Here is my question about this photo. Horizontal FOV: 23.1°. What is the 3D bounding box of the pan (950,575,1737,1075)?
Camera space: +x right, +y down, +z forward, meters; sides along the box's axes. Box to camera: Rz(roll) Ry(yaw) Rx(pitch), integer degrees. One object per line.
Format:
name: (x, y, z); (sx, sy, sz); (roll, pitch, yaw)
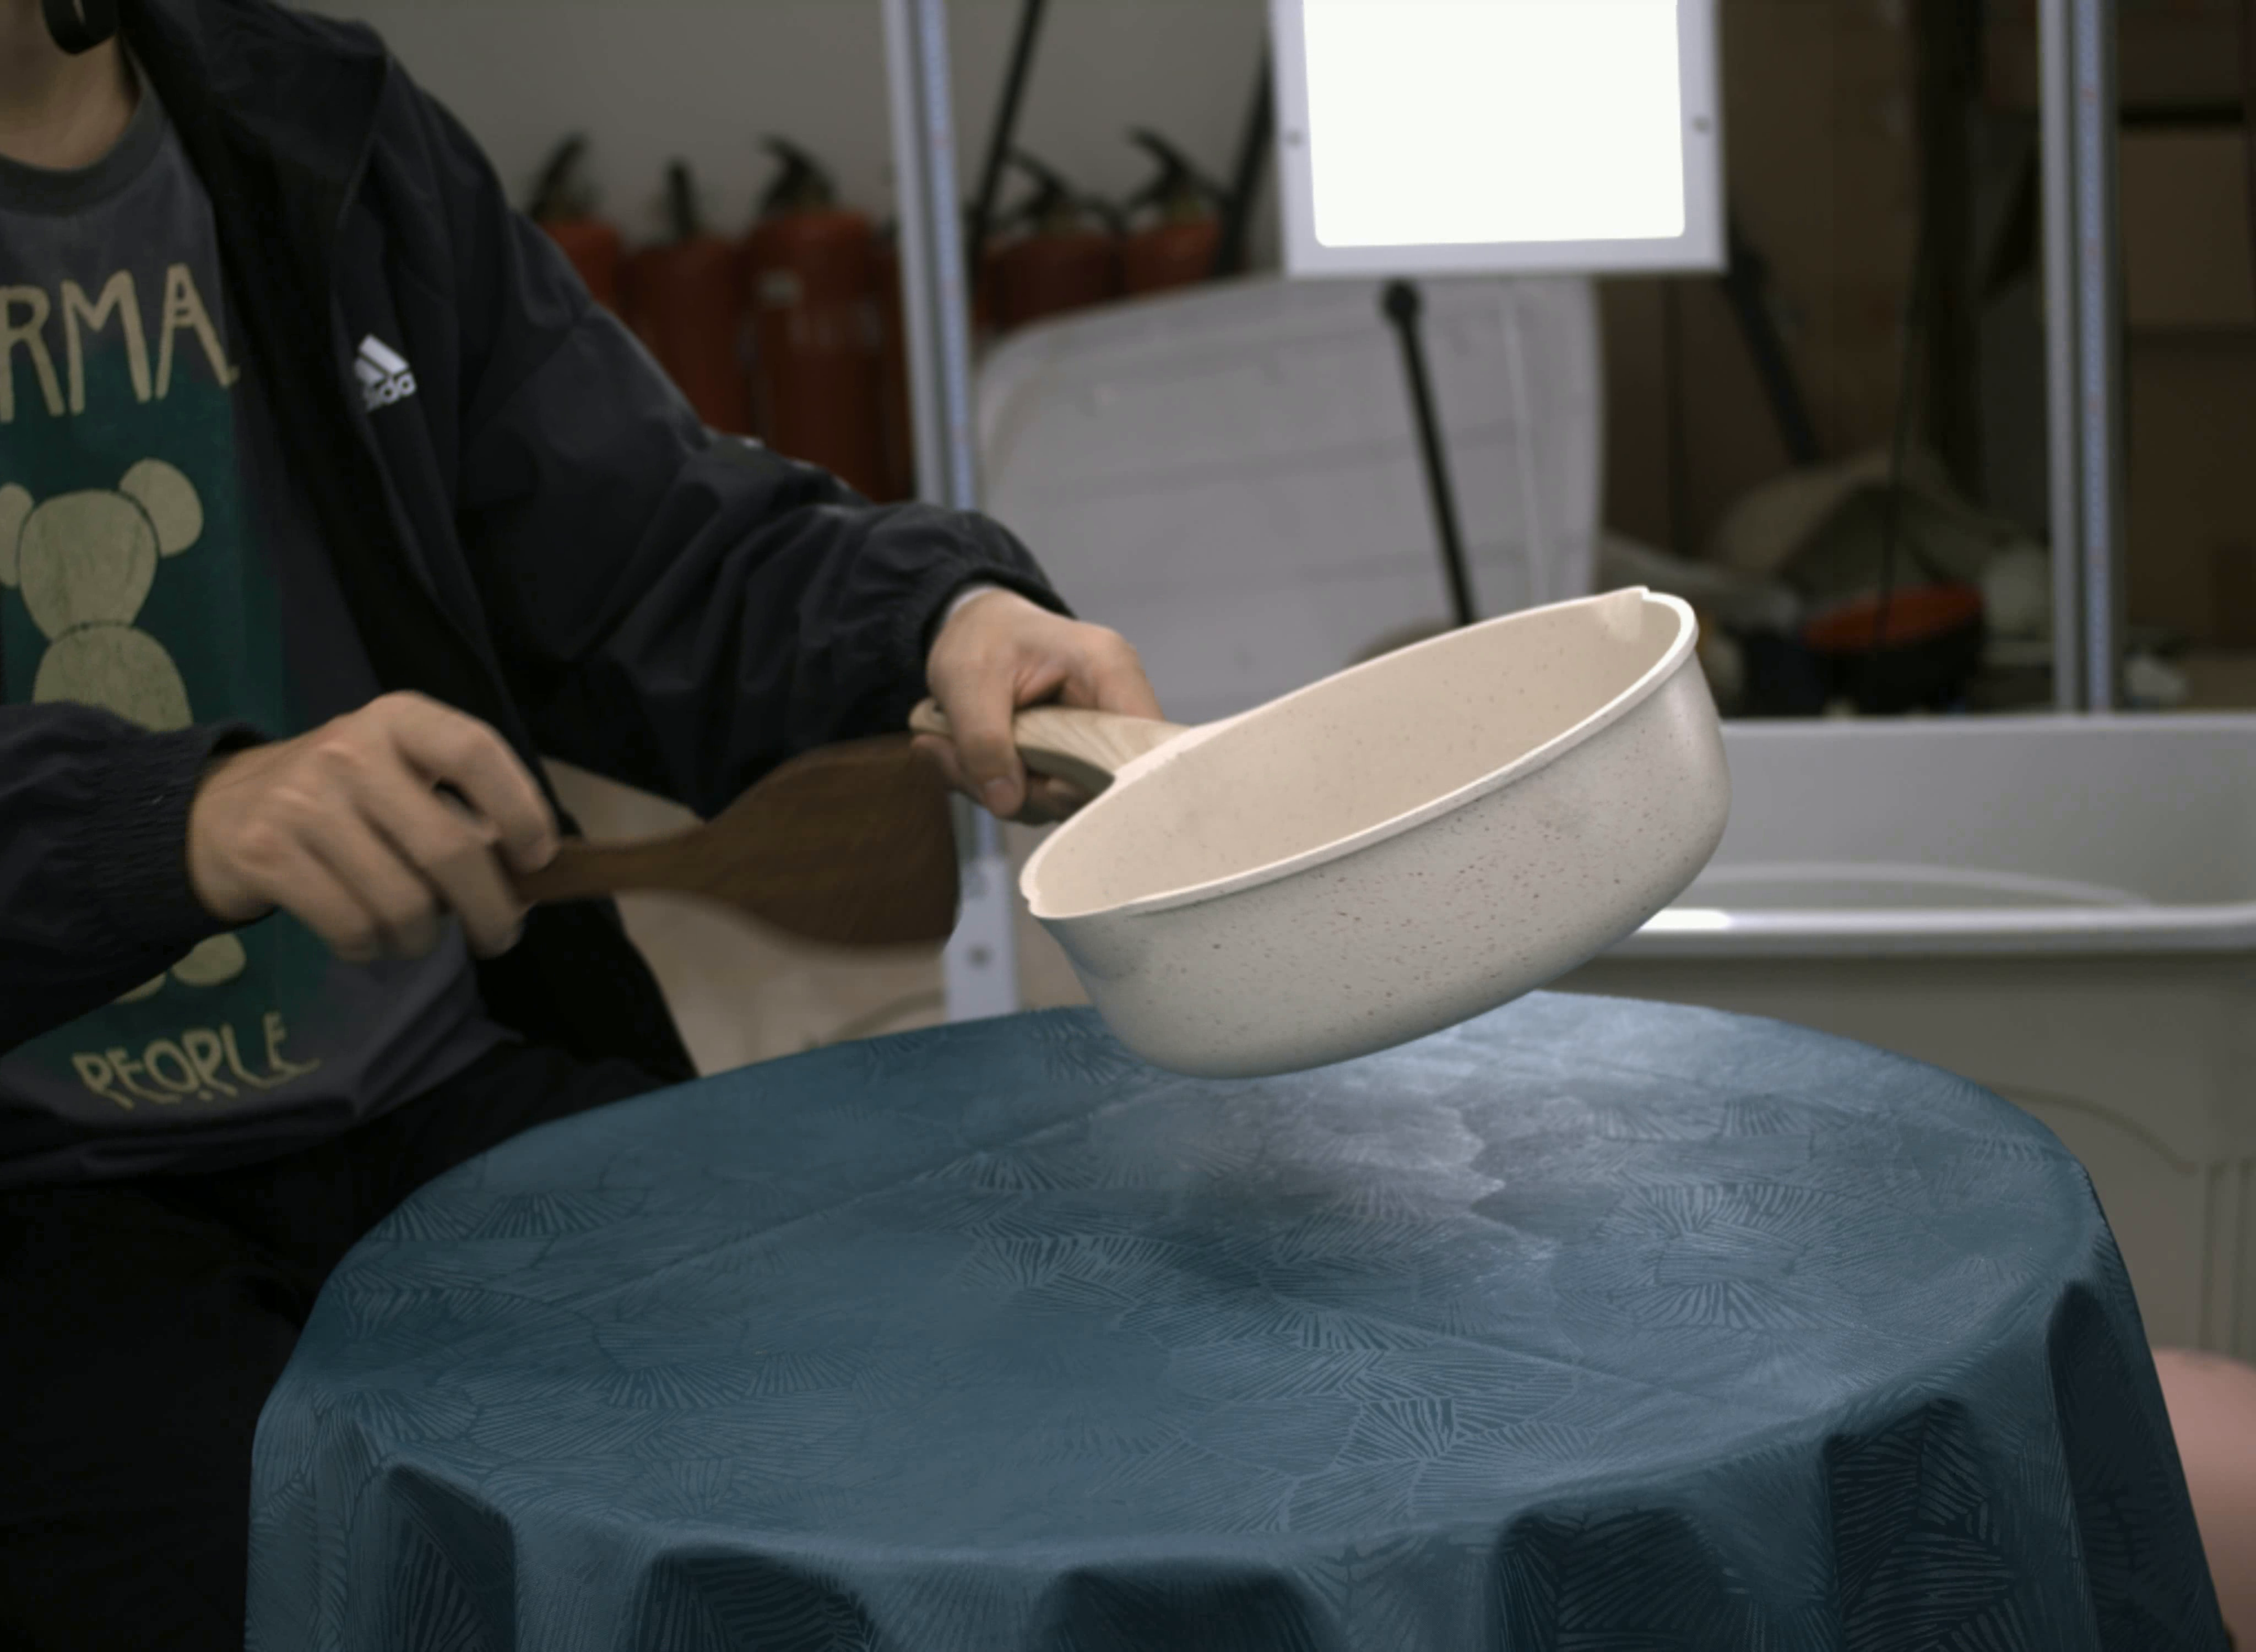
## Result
pan: (0.047, 0.000, 1.974); (0.258, 0.102, 0.443); (-30, 13, -25)

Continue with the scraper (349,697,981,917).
scraper: (-0.154, 0.004, 1.821); (0.212, 0.076, 0.011); (-7, 24, 8)
